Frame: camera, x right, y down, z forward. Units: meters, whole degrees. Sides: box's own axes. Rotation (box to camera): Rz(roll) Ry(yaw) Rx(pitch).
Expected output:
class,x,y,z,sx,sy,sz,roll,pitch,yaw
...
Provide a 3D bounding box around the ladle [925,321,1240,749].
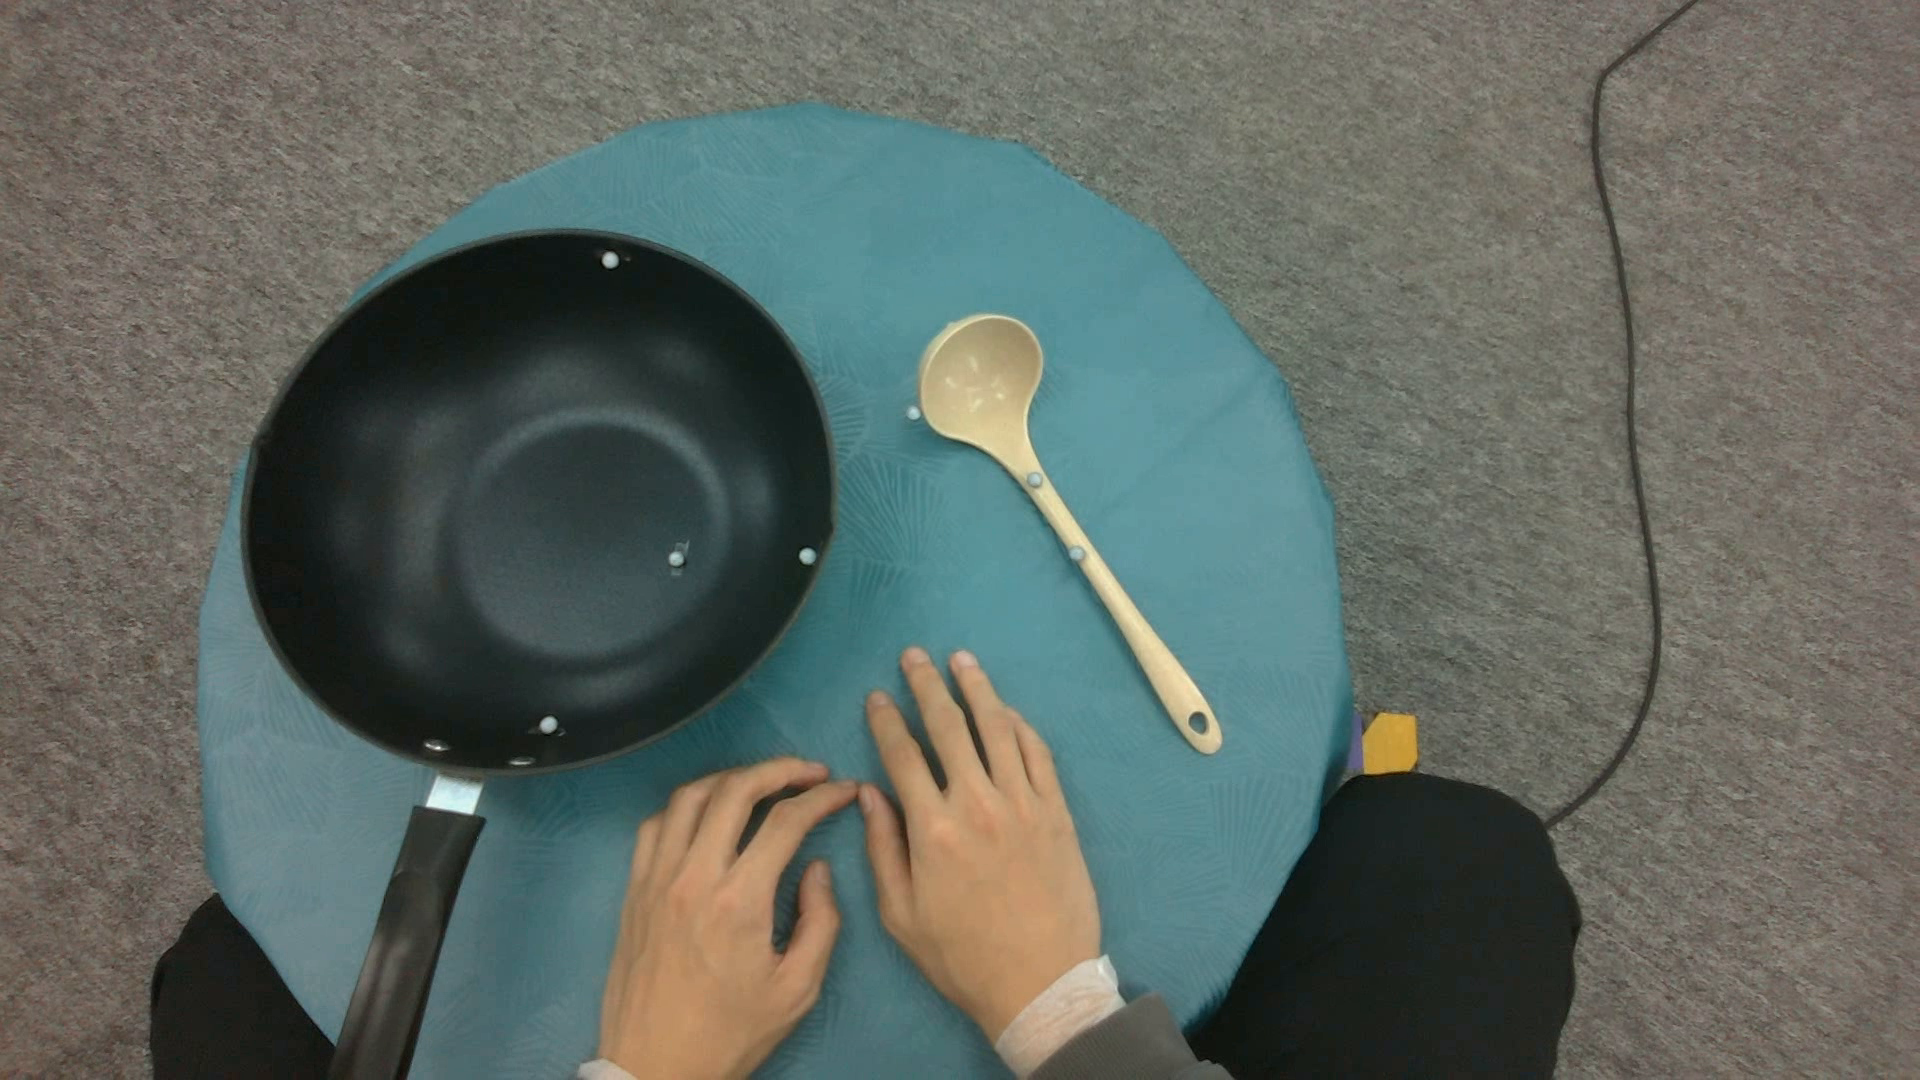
class,x,y,z,sx,sy,sz,roll,pitch,yaw
ladle,0.071,-0.006,0.709,0.072,0.072,0.255,-31,73,-14

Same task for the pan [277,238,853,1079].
class,x,y,z,sx,sy,sz,roll,pitch,yaw
pan,-0.210,0.073,0.683,0.288,0.086,0.464,10,73,4
